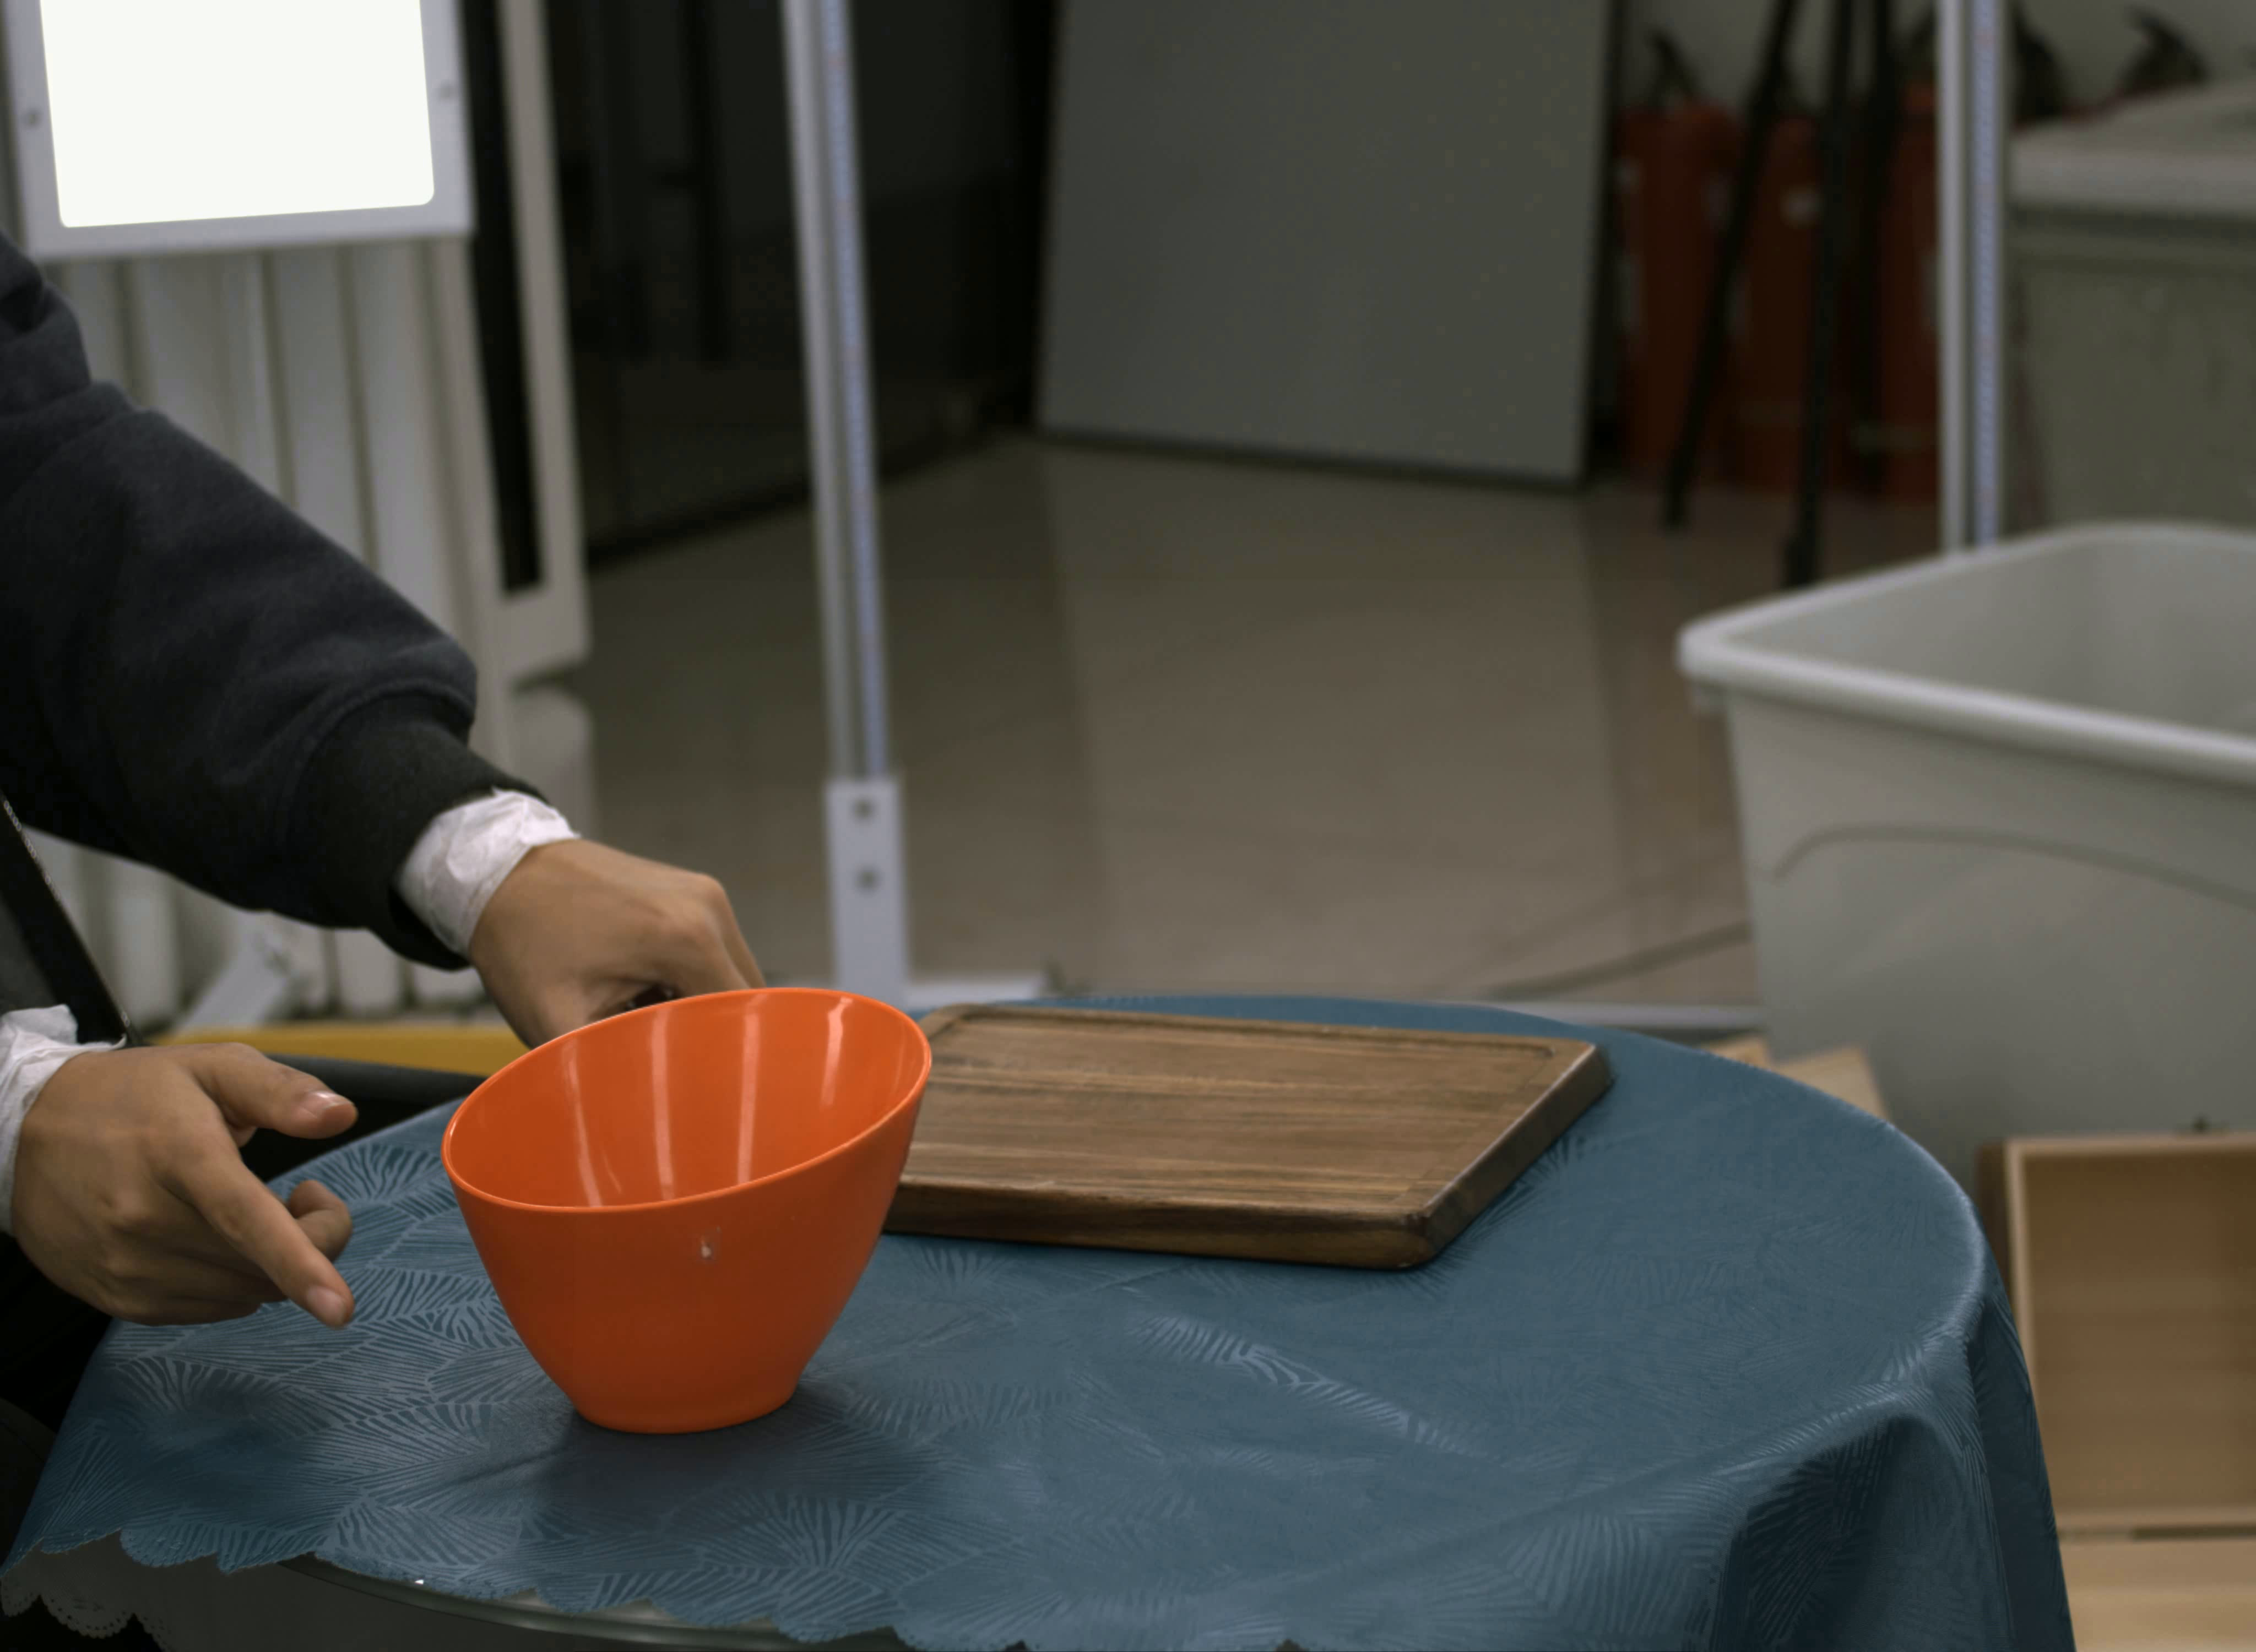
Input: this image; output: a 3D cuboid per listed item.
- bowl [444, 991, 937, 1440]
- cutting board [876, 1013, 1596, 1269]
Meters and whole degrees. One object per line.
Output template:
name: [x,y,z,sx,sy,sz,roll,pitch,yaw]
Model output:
bowl: [-0.126,0.119,1.600,0.146,0.106,0.148,-3,14,0]
cutting board: [-0.032,0.100,1.821,0.352,0.023,0.199,2,15,24]
